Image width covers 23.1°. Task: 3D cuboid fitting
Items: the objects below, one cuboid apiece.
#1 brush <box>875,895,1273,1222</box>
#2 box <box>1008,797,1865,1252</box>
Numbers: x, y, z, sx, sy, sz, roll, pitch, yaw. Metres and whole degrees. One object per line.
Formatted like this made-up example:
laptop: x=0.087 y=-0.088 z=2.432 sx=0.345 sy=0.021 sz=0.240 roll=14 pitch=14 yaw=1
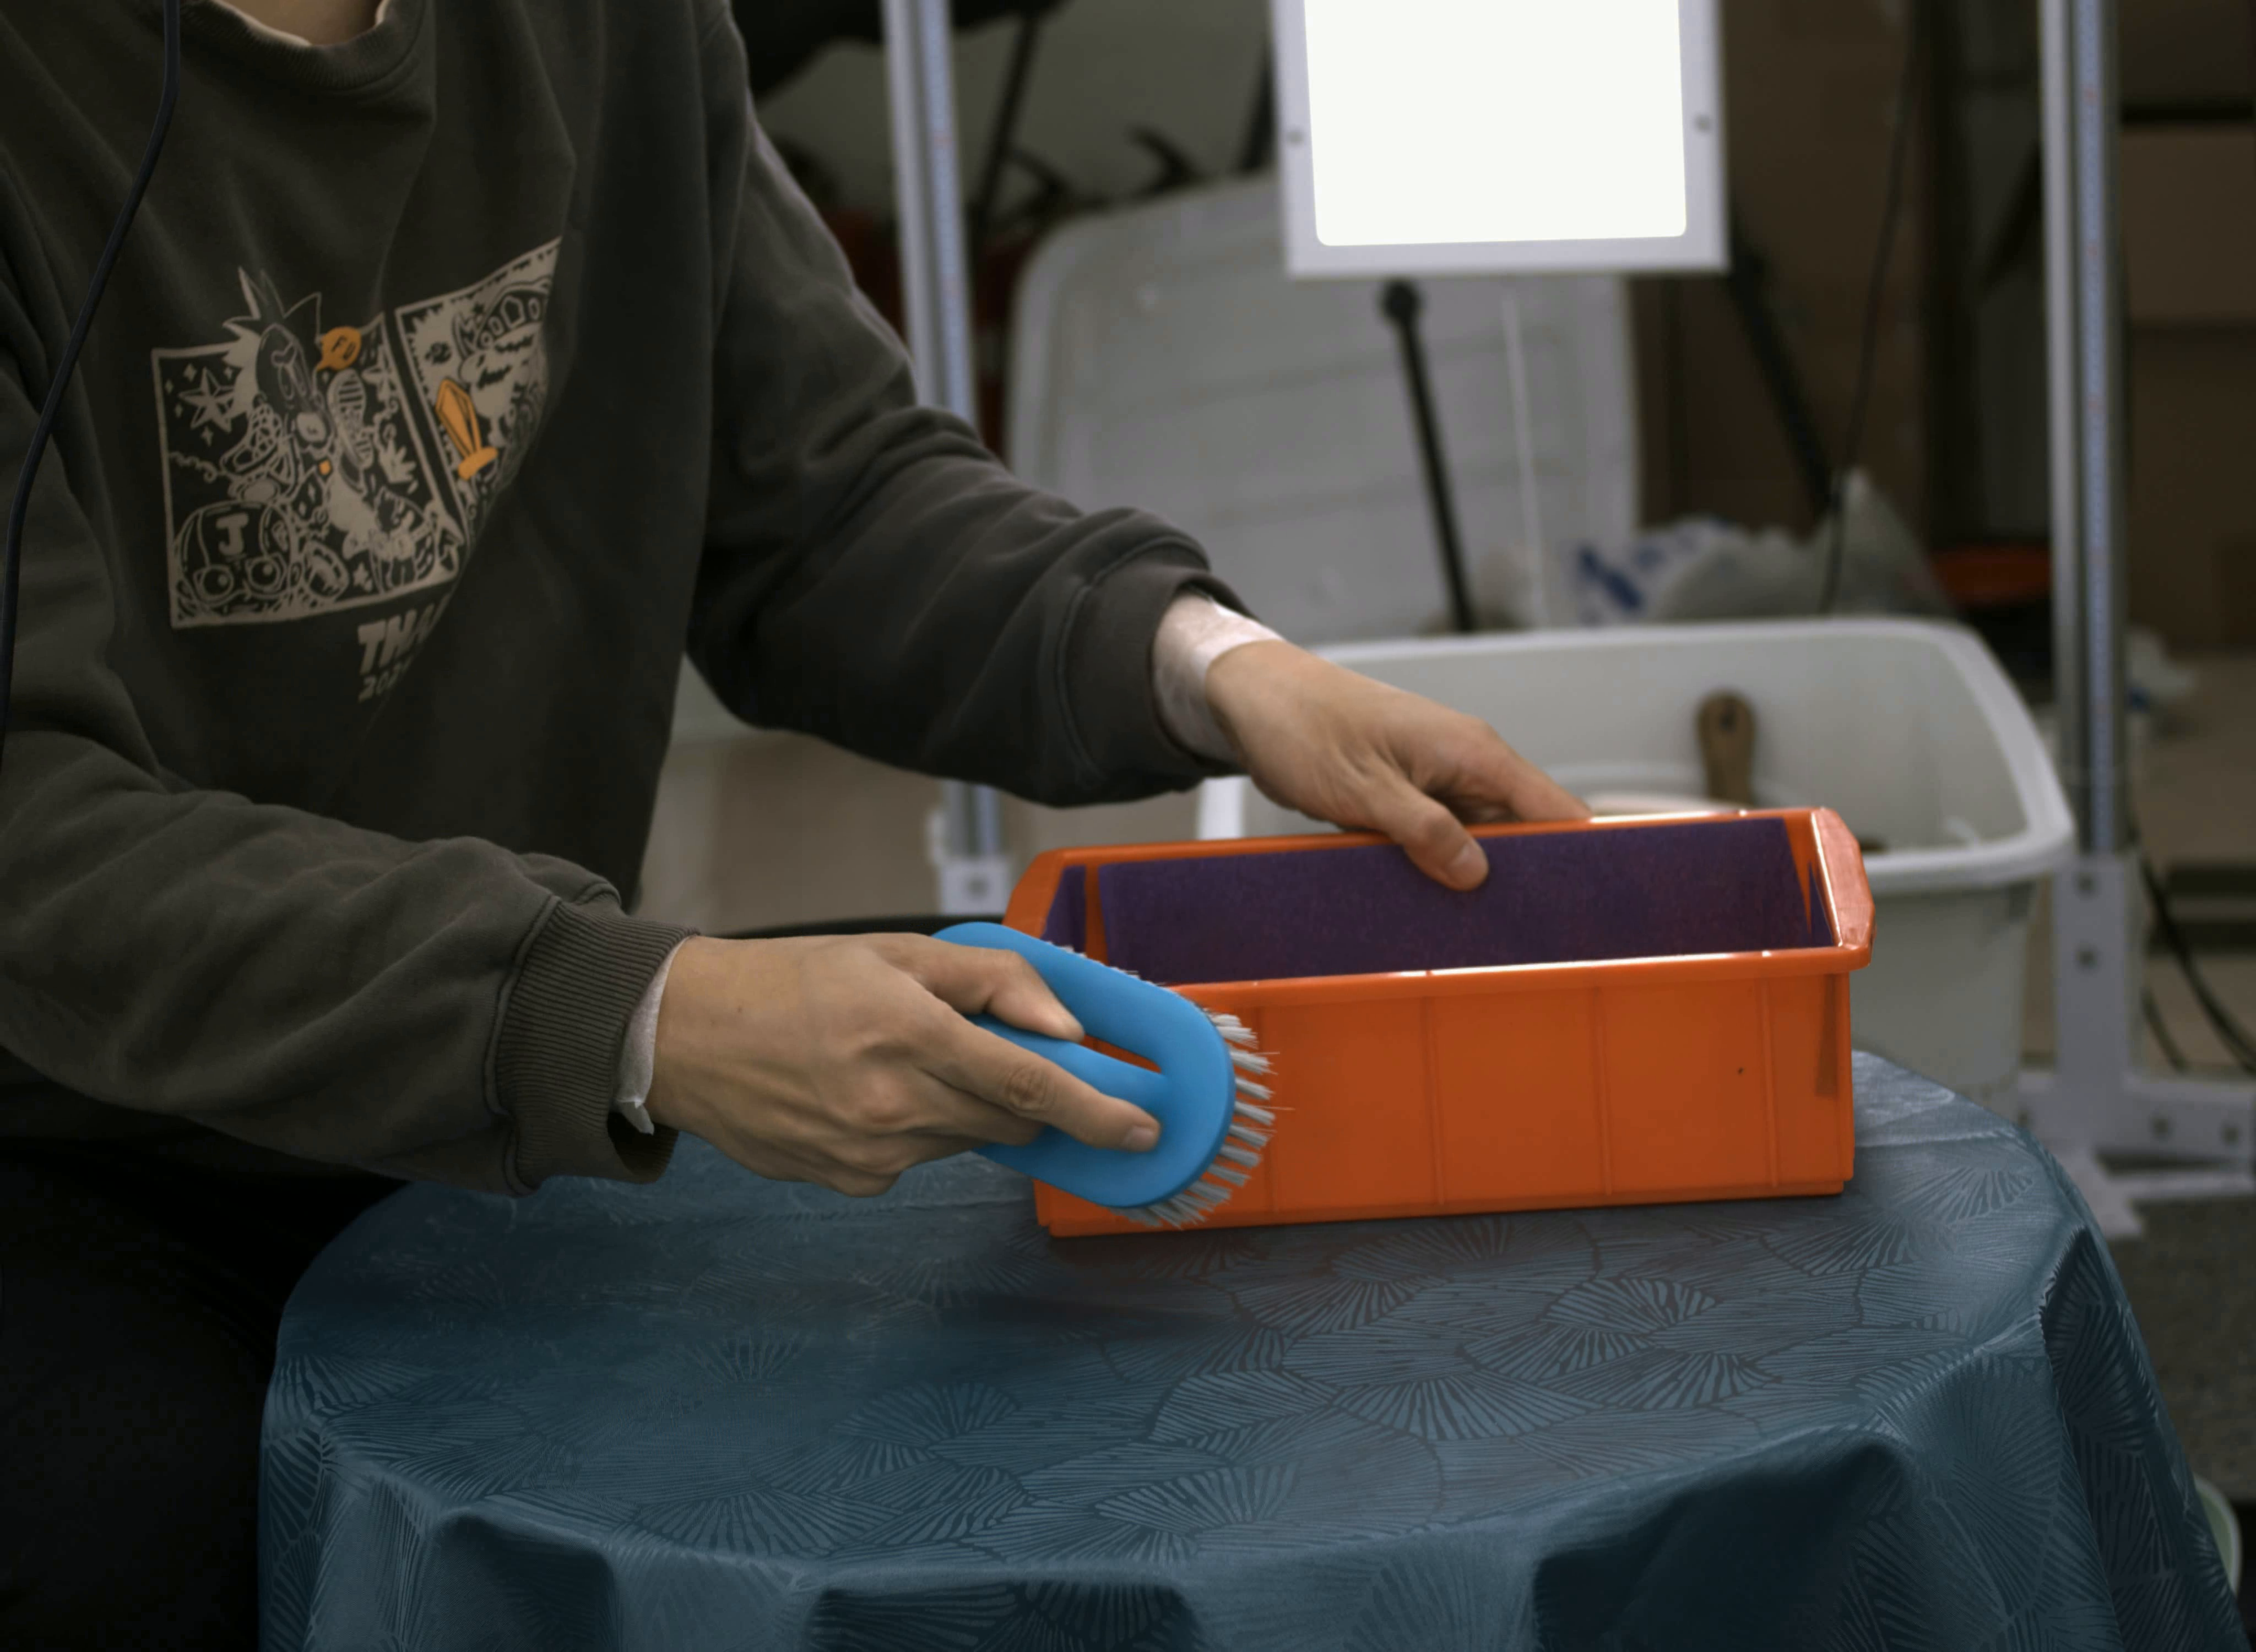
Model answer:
brush: x=-0.027 y=0.072 z=1.777 sx=0.144 sy=0.084 sz=0.062 roll=23 pitch=4 yaw=33
box: x=0.106 y=0.068 z=1.918 sx=0.305 sy=0.097 sz=0.205 roll=-3 pitch=14 yaw=8
